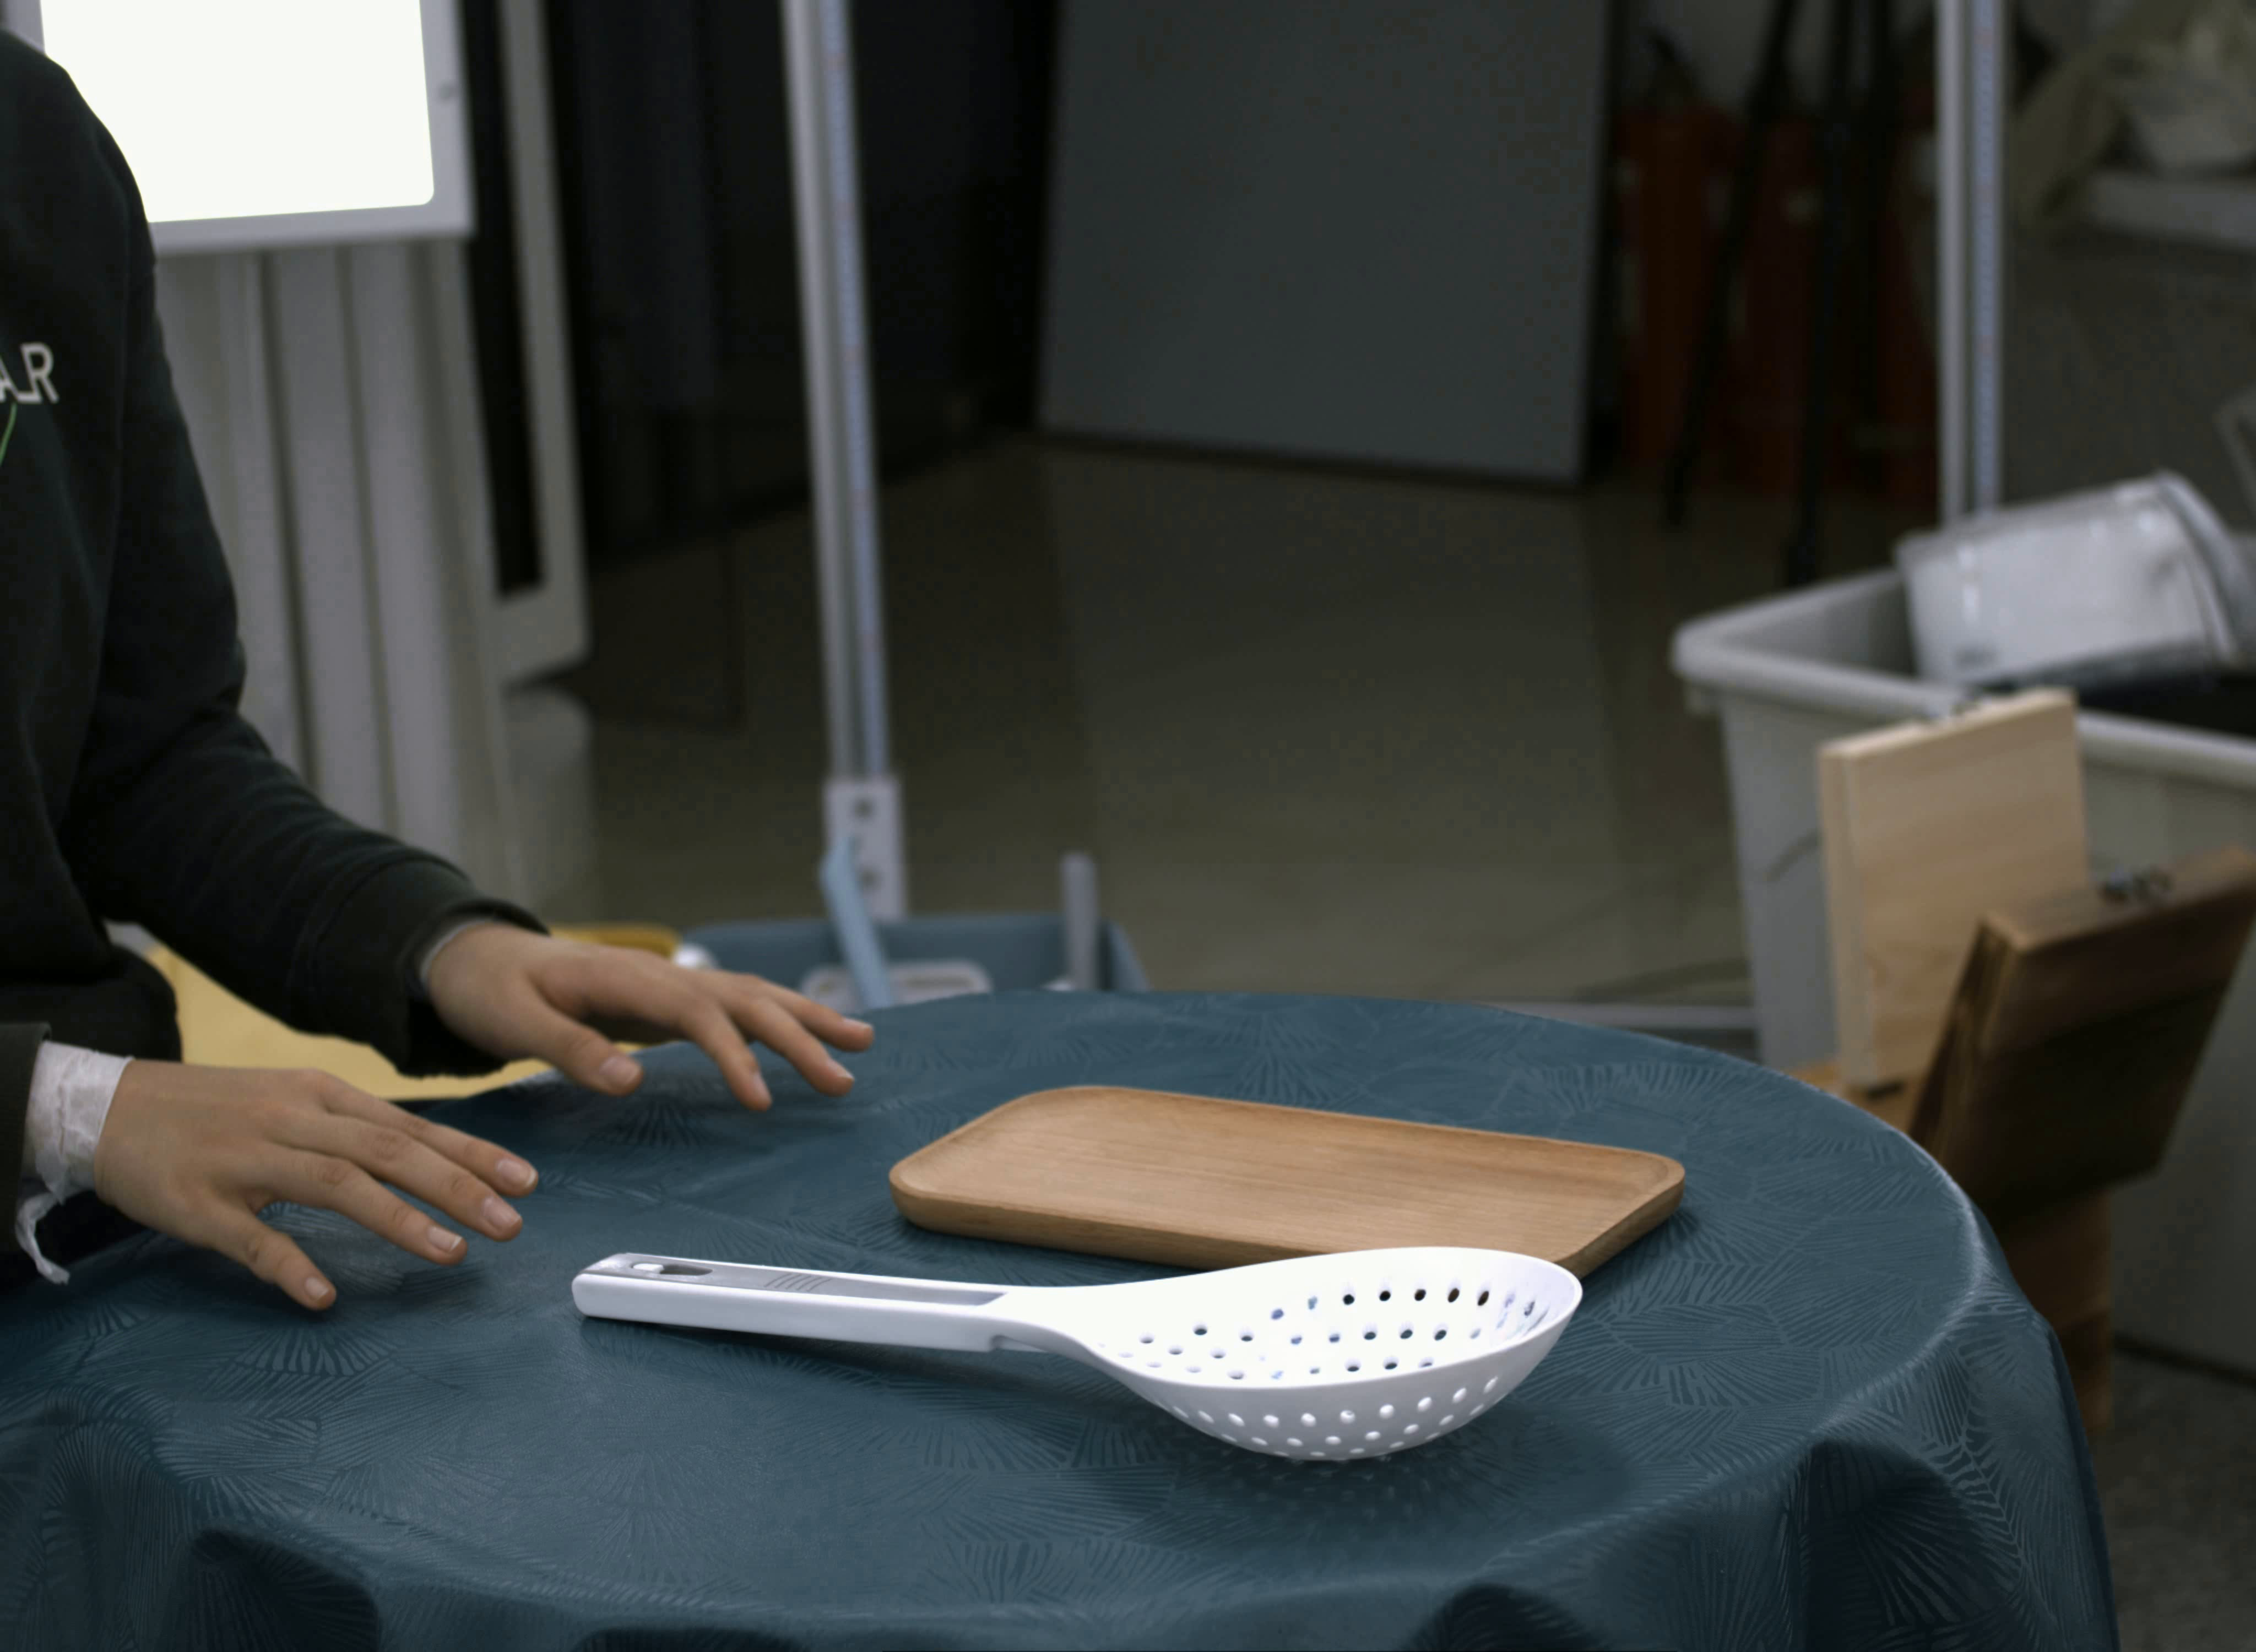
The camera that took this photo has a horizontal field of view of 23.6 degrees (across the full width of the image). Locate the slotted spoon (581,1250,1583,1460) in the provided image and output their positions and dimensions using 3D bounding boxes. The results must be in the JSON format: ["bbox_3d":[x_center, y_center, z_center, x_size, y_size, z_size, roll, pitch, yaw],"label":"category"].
[{"bbox_3d":[-0.024,0.145,1.586,0.352,0.046,0.133,5,14,36],"label":"slotted spoon"}]

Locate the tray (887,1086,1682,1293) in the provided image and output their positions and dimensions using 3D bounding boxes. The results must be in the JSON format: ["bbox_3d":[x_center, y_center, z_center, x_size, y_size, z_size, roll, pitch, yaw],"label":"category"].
[{"bbox_3d":[0.049,0.118,1.735,0.252,0.023,0.128,4,14,33],"label":"tray"}]
